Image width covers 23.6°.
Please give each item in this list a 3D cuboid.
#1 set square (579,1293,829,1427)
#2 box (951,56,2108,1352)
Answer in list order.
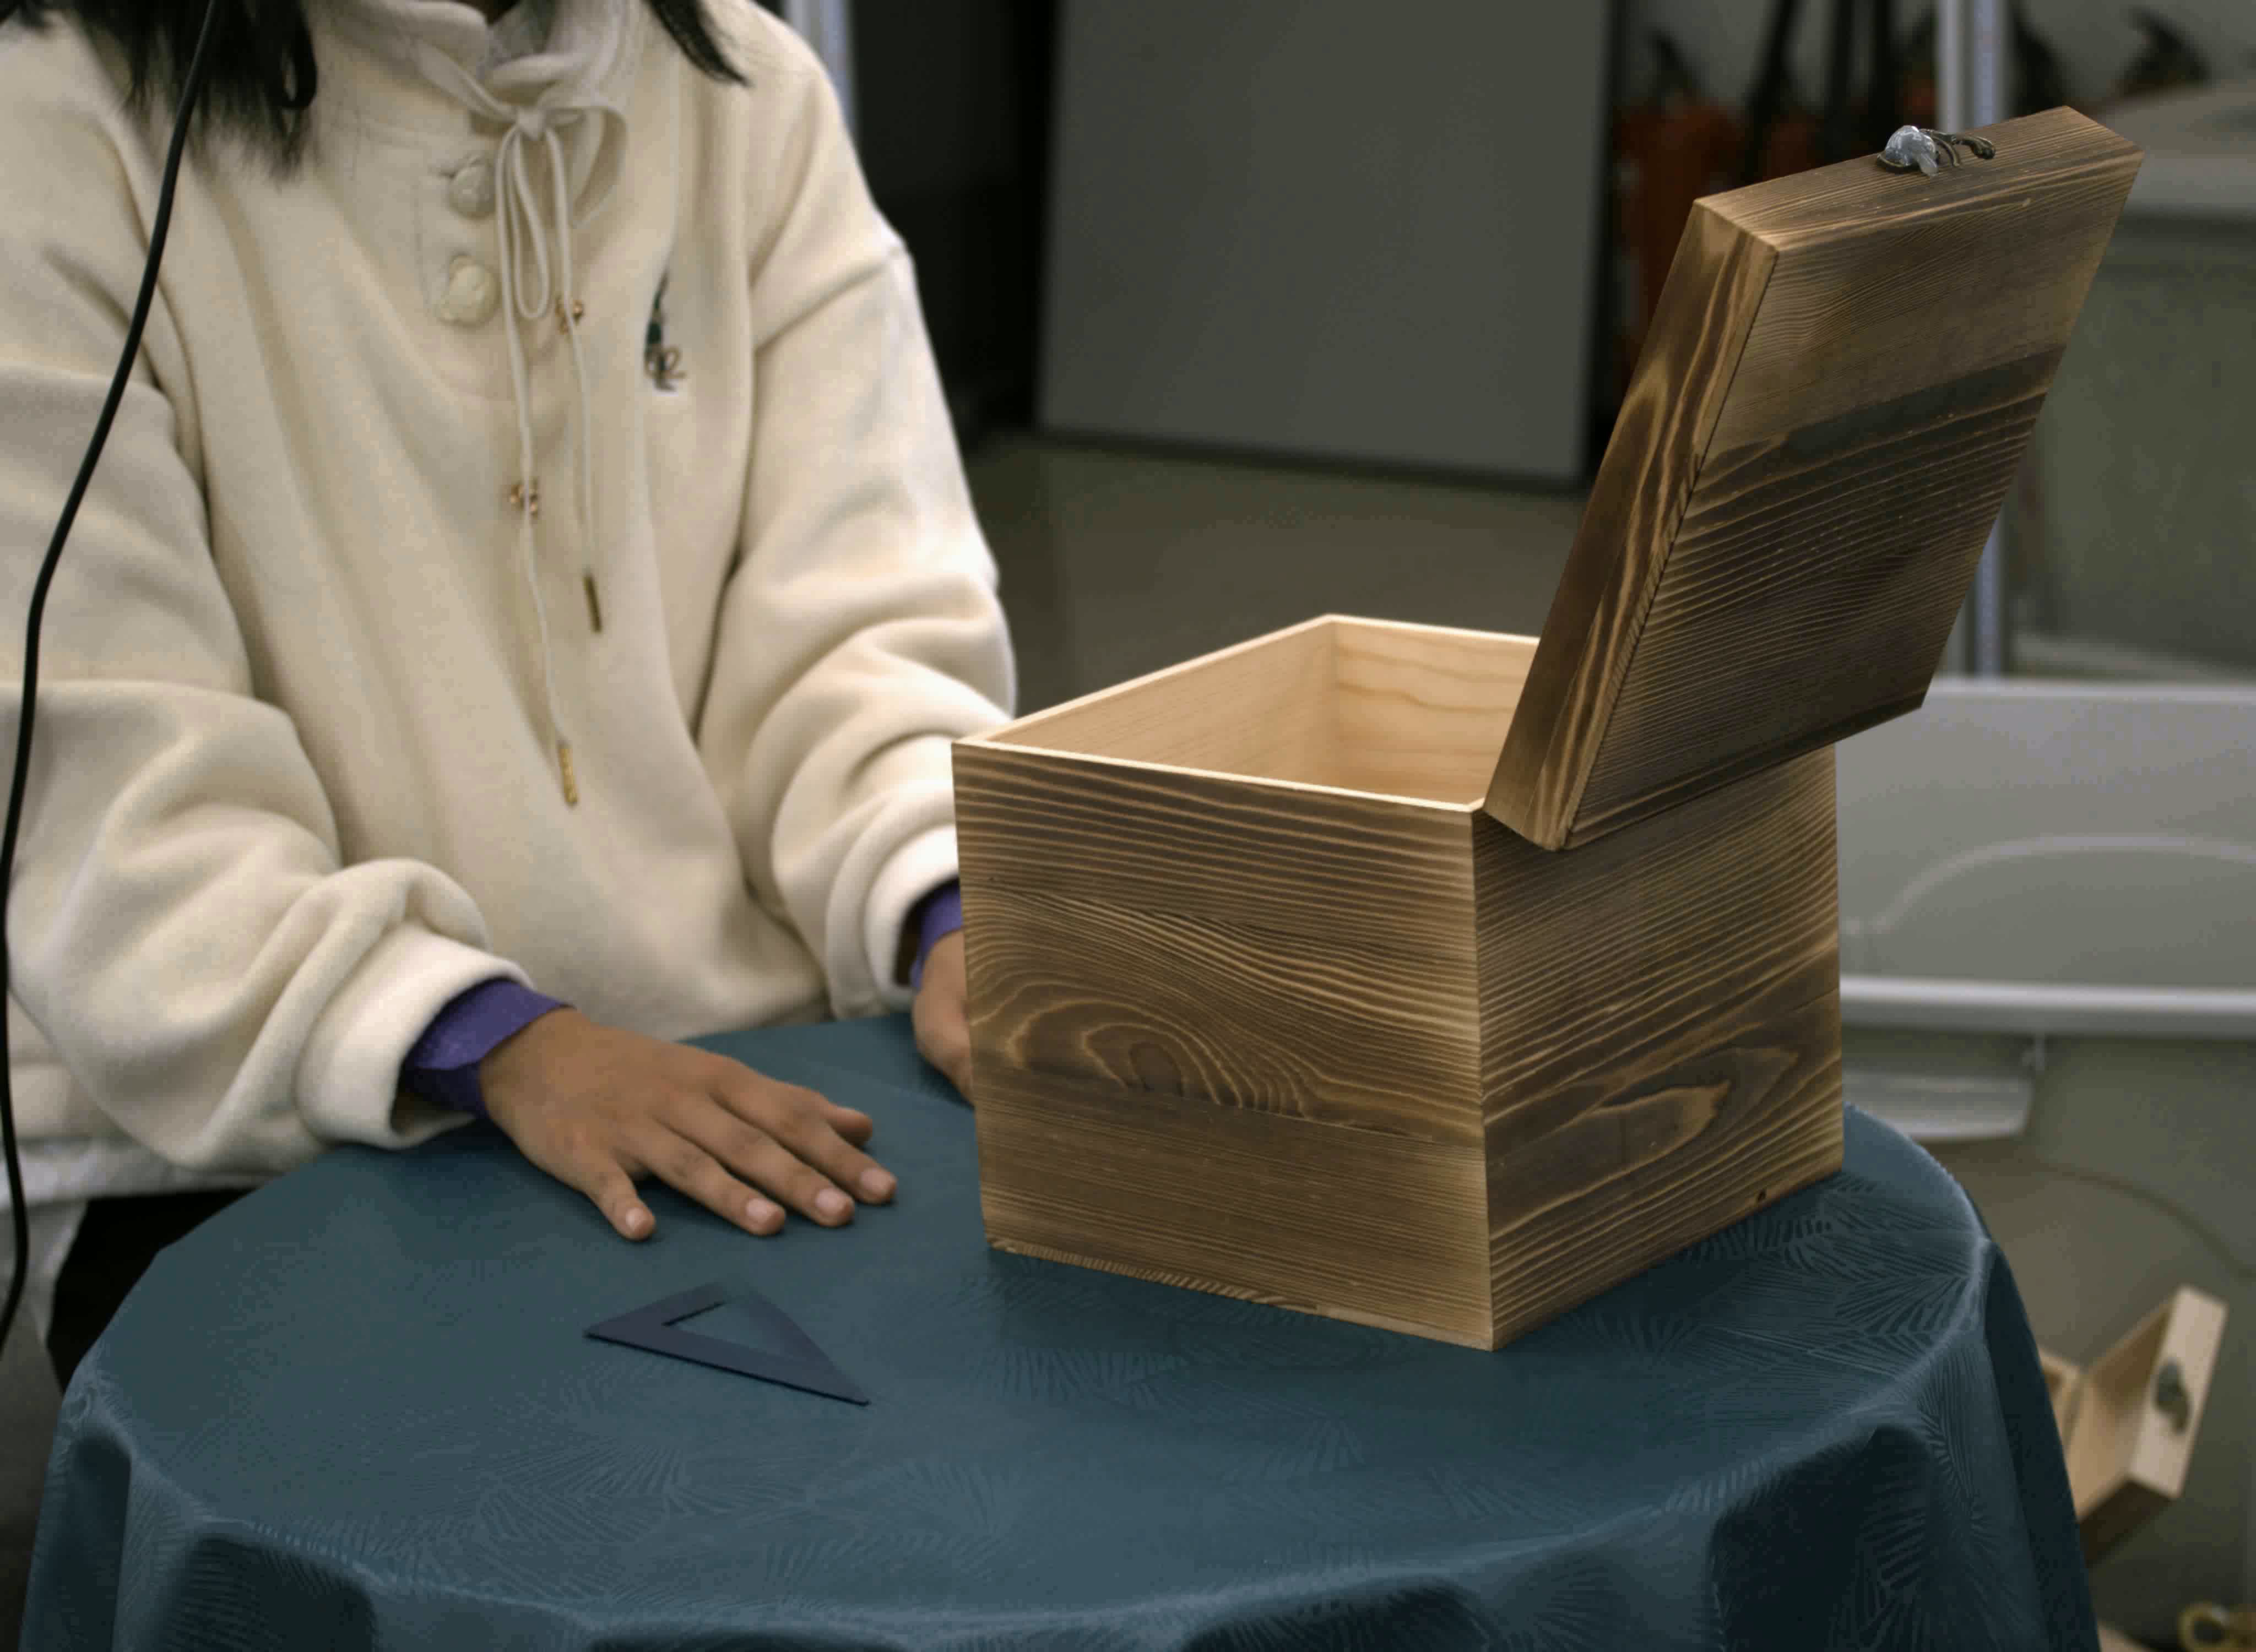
[{"bbox_3d":[-0.130,0.162,1.632,0.060,0.006,0.133,-4,13,-15],"label":"set square"},{"bbox_3d":[0.124,-0.046,1.659,0.324,0.379,0.205,8,17,39],"label":"box"}]
